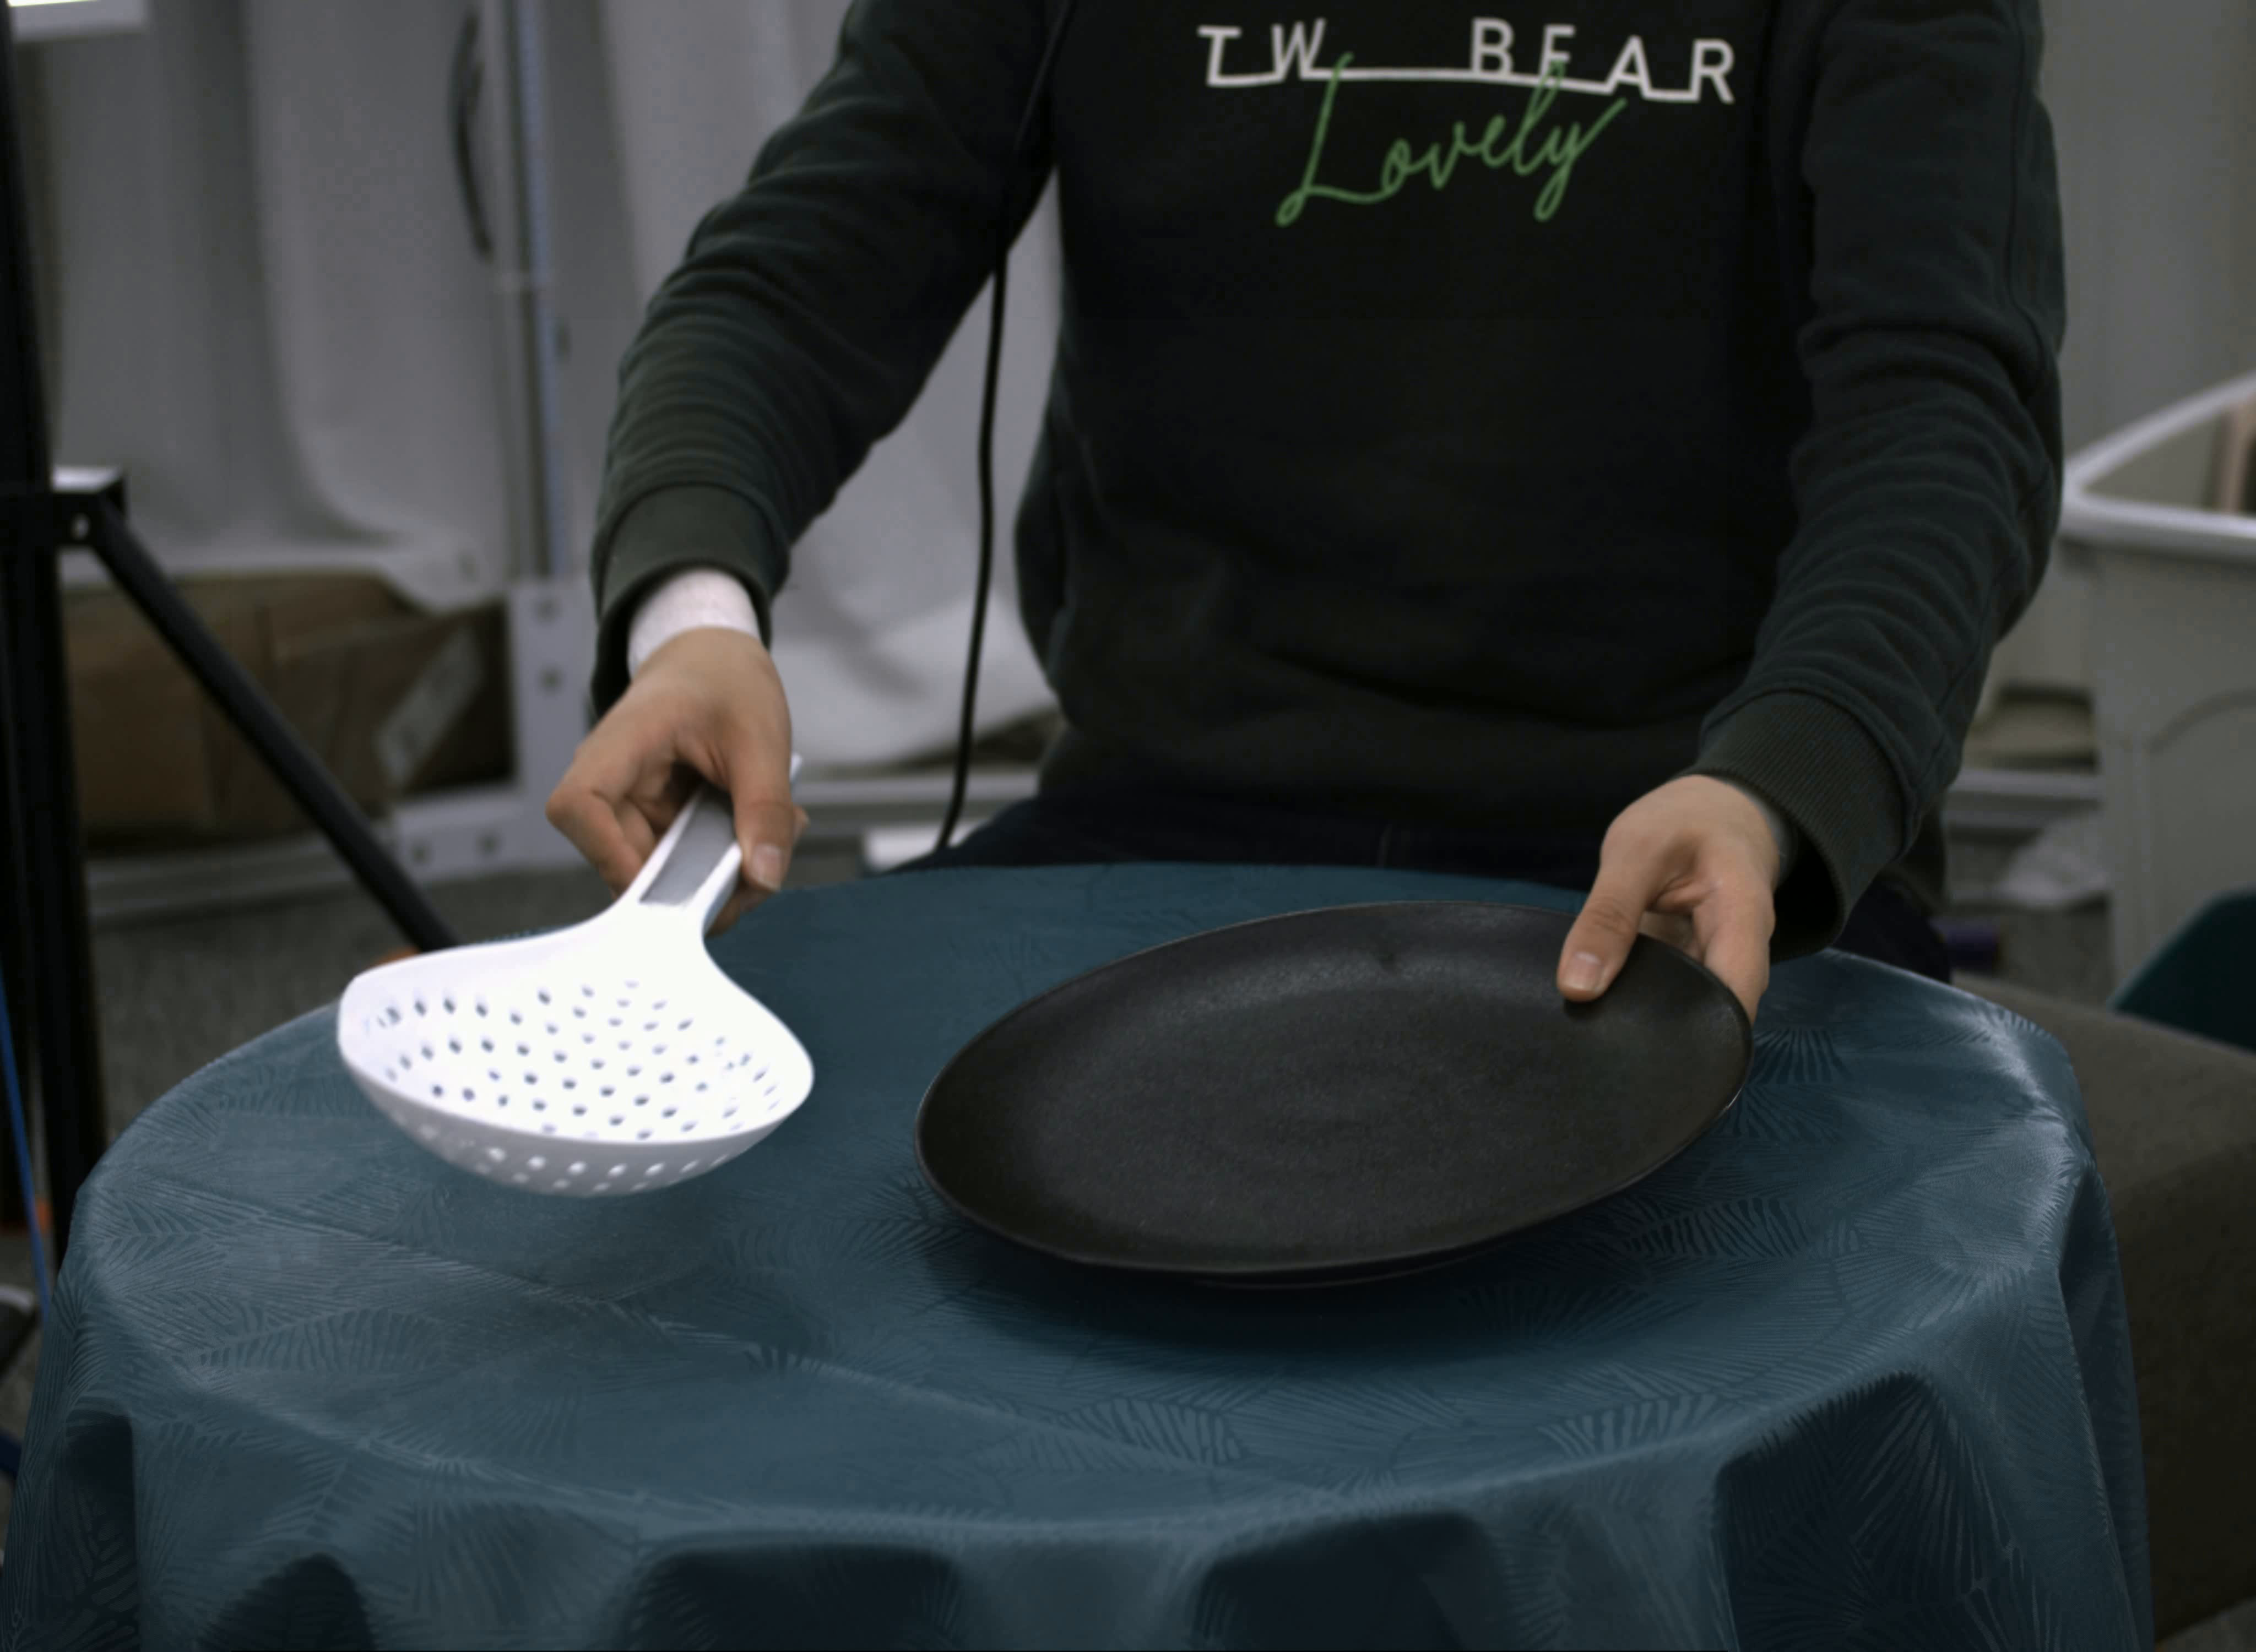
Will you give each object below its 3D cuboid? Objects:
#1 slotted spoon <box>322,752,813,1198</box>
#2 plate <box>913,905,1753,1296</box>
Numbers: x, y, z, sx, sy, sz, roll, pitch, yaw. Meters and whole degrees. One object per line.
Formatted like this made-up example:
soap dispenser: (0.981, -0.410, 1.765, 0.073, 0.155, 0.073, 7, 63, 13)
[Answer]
slotted spoon: (-0.142, 0.035, 1.587, 0.136, 0.046, 0.349, 12, 23, 5)
plate: (0.060, 0.082, 1.528, 0.243, 0.023, 0.246, -8, 22, 2)
